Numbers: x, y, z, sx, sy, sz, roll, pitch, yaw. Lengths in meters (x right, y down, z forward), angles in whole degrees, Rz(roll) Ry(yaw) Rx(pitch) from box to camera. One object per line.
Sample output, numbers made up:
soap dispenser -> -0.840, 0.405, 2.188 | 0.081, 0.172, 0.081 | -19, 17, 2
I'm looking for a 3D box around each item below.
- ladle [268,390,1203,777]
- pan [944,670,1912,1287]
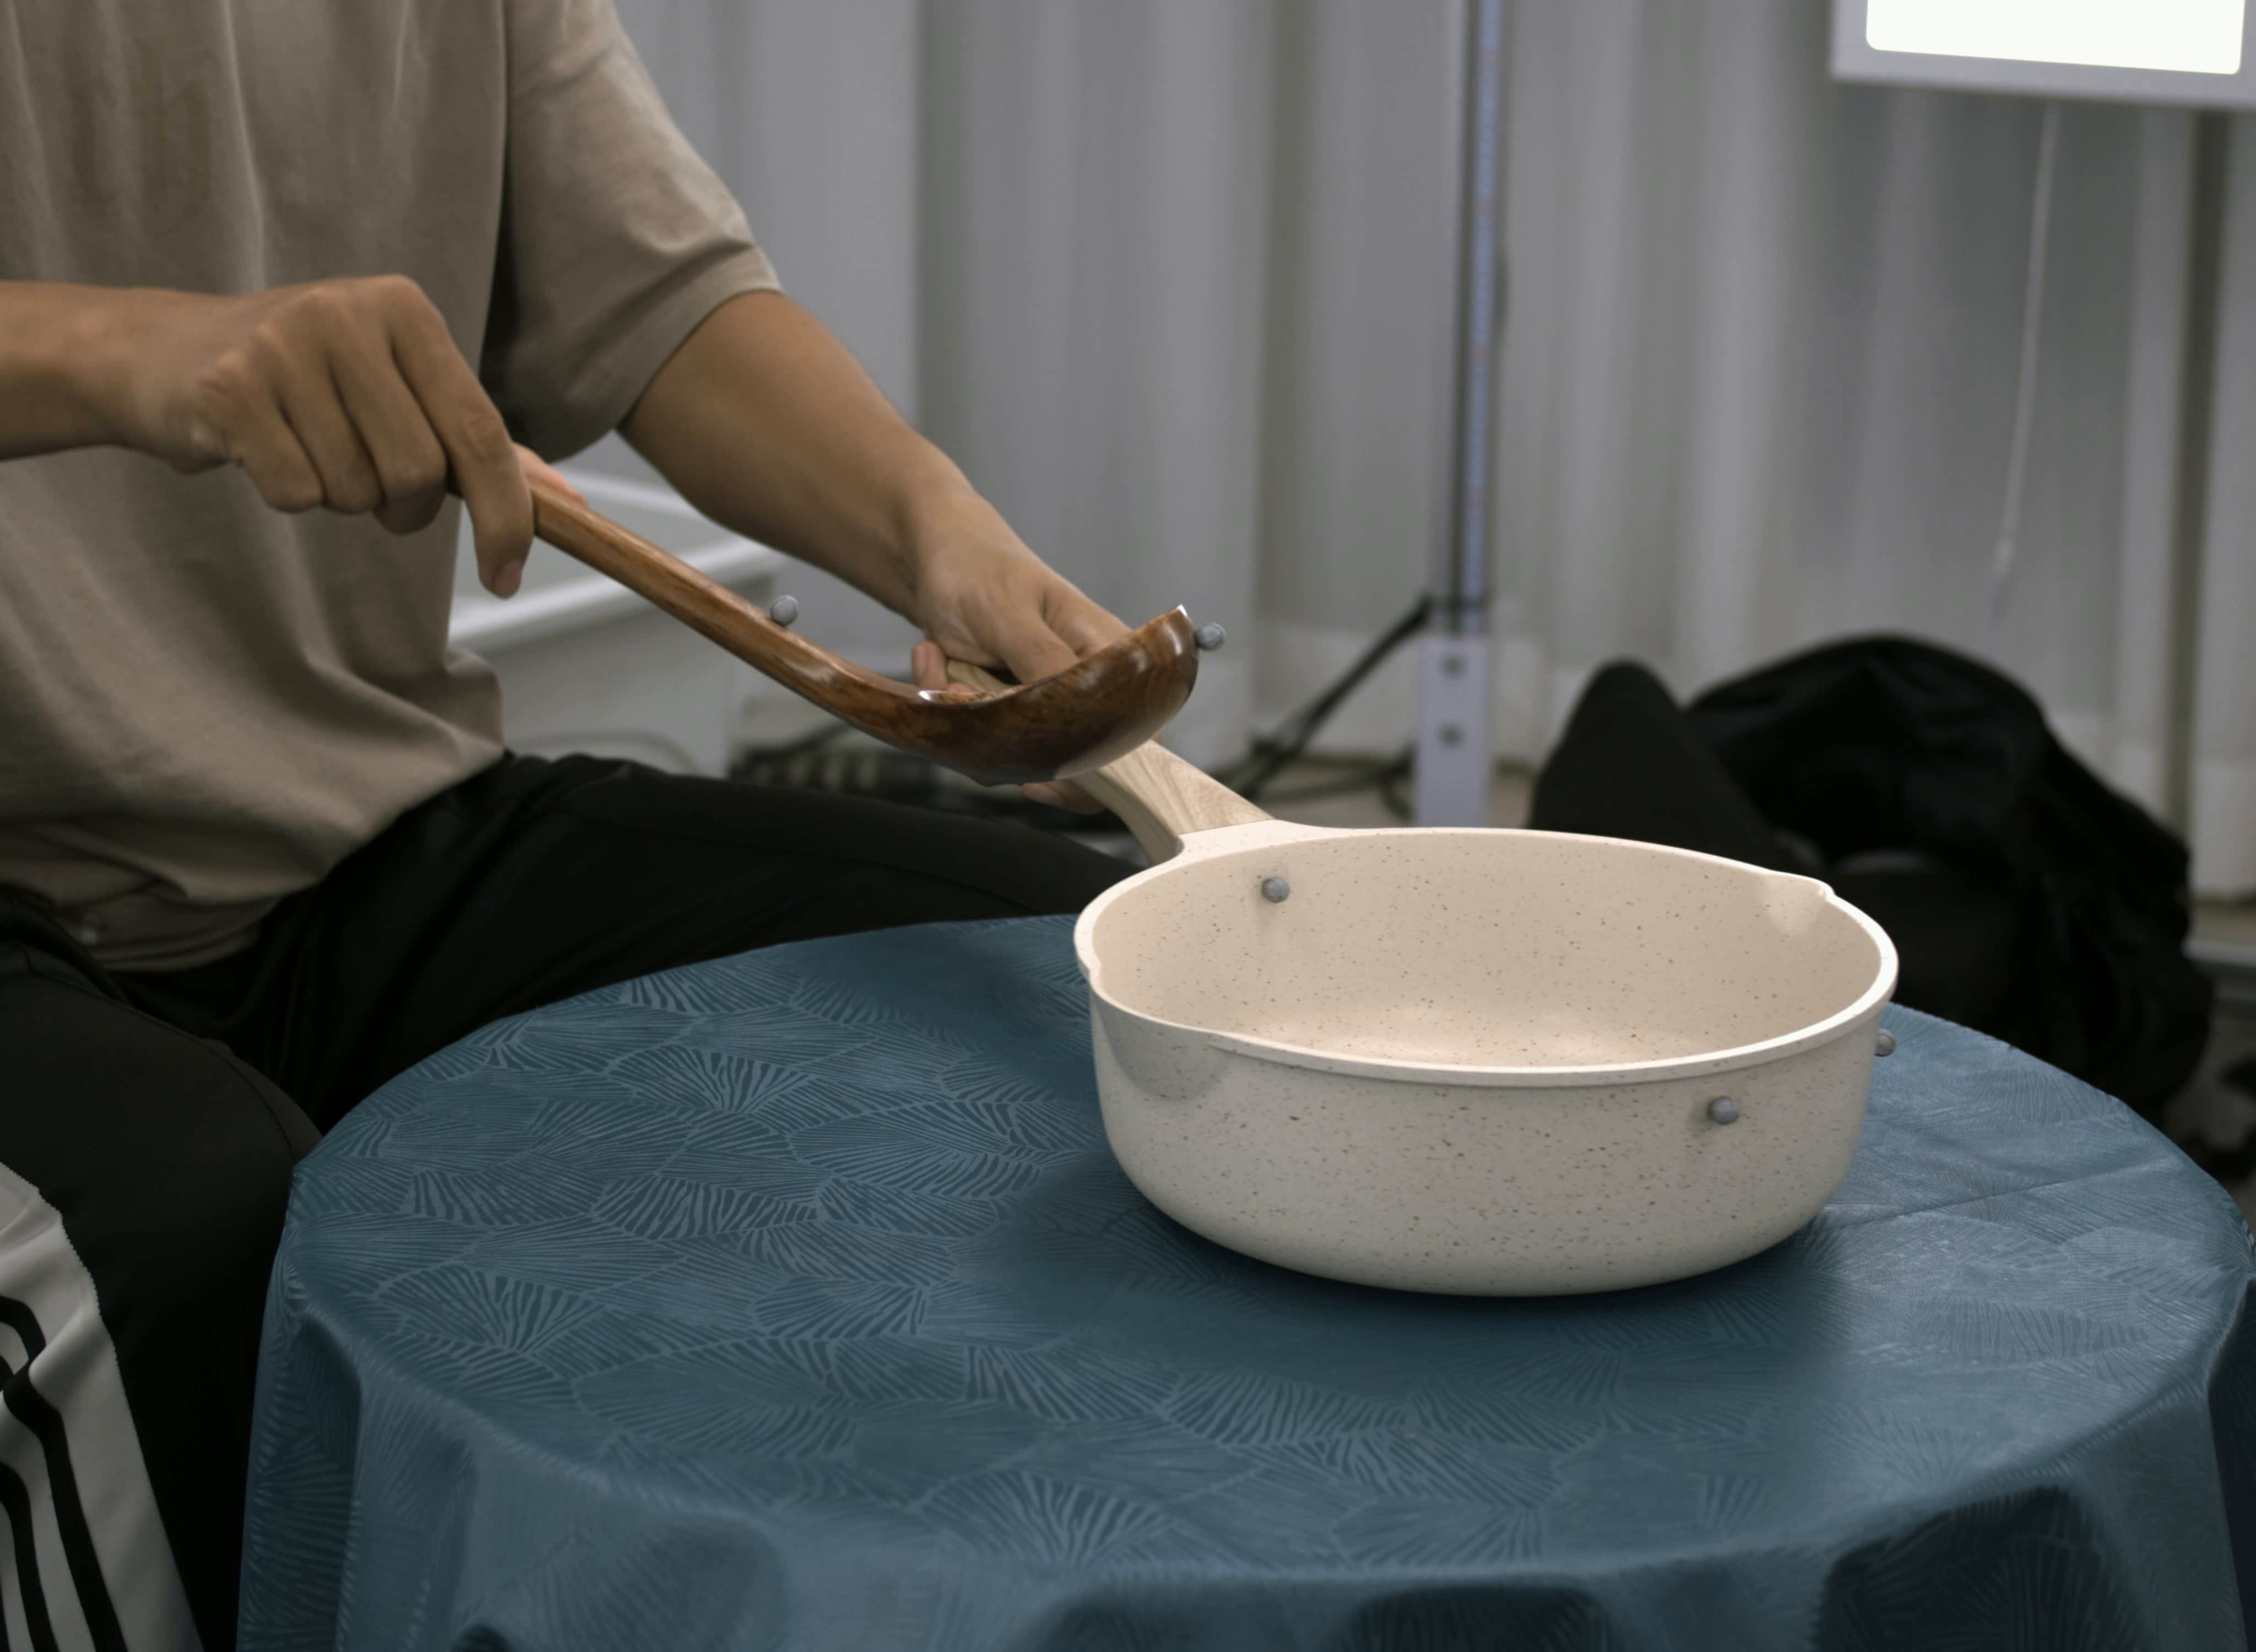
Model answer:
ladle -> -0.110, -0.088, 1.498 | 0.273, 0.077, 0.082 | 27, 2, 4
pan -> 0.064, 0.043, 1.692 | 0.264, 0.103, 0.429 | -11, 19, -31
